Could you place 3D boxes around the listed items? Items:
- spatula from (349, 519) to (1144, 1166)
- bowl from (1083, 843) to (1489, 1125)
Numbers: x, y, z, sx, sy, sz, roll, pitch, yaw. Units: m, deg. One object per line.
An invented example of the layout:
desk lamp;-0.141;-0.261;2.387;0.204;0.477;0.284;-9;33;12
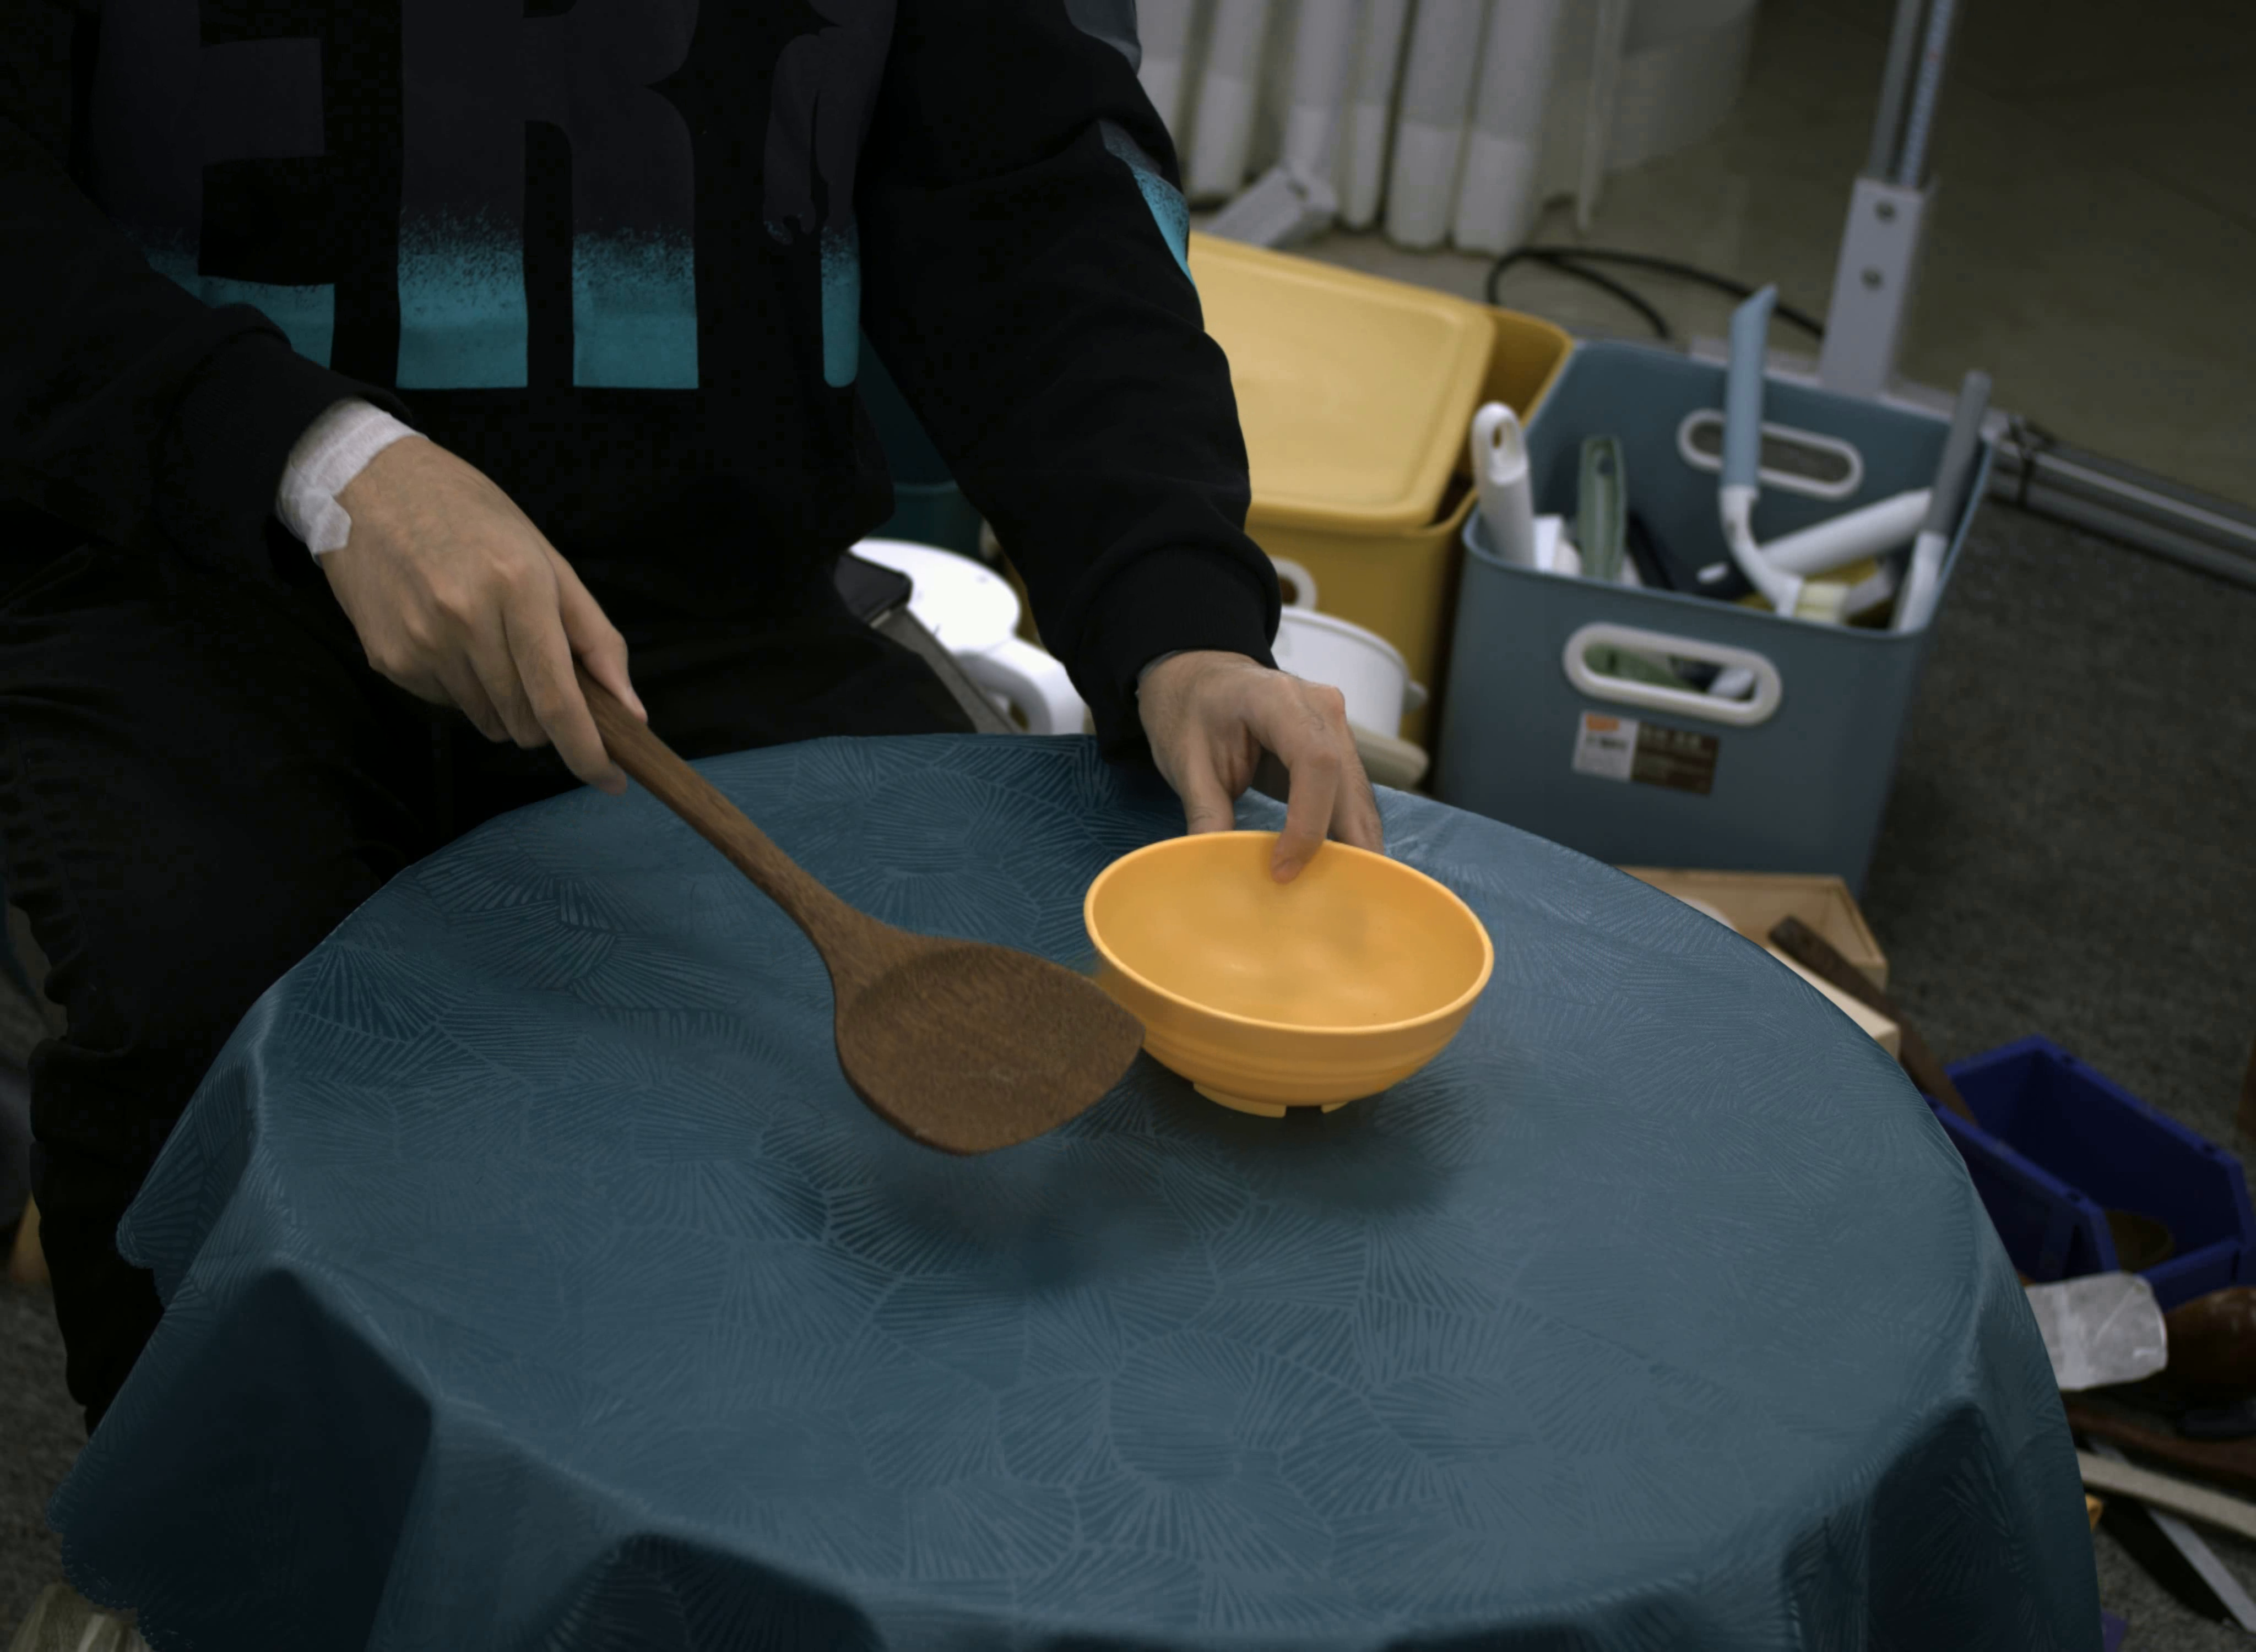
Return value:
spatula;-0.149;-0.005;1.840;0.096;0.016;0.389;-30;55;-32
bowl;0.051;0.064;1.870;0.145;0.060;0.146;7;24;-4
